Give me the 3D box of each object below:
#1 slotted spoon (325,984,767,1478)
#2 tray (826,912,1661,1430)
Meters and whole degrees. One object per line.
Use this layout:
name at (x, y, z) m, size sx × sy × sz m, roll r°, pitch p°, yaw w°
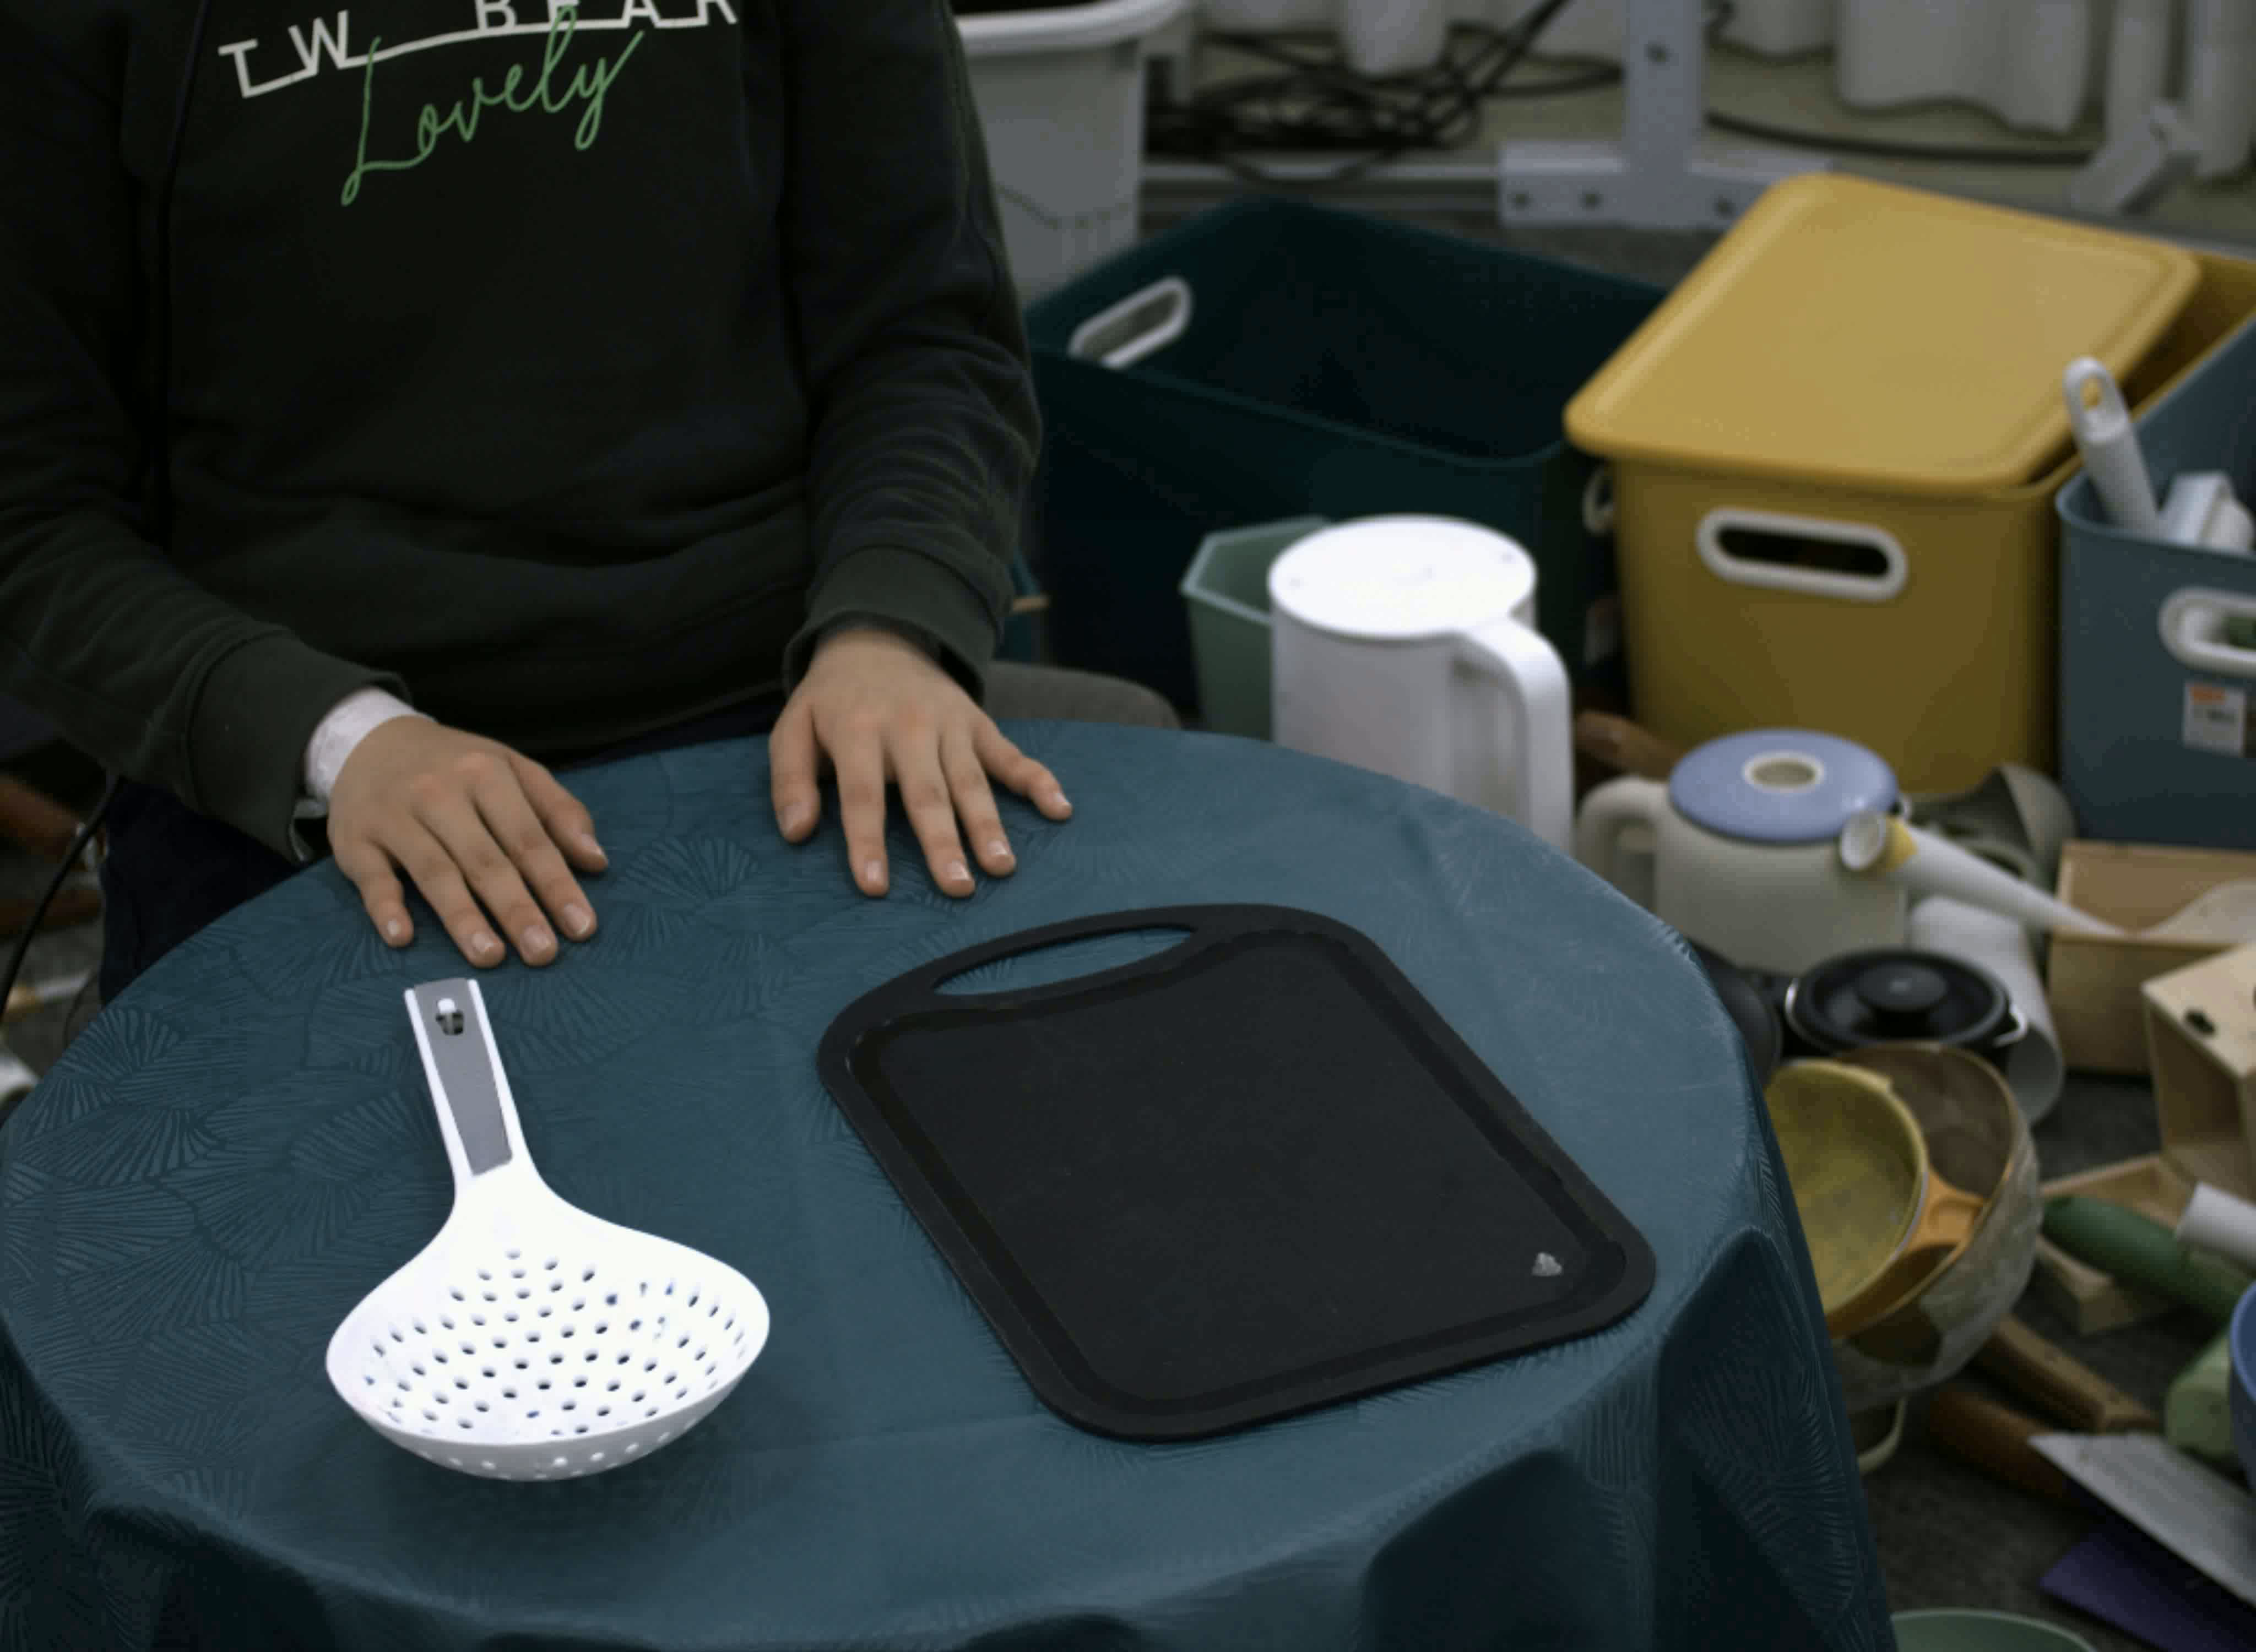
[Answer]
slotted spoon at (-0.203, 0.125, 1.825) m, size 0.136 × 0.045 × 0.353 m, roll -6°, pitch 26°, yaw -11°
tray at (0.028, 0.106, 1.882) m, size 0.211 × 0.009 × 0.328 m, roll -12°, pitch 28°, yaw -17°
